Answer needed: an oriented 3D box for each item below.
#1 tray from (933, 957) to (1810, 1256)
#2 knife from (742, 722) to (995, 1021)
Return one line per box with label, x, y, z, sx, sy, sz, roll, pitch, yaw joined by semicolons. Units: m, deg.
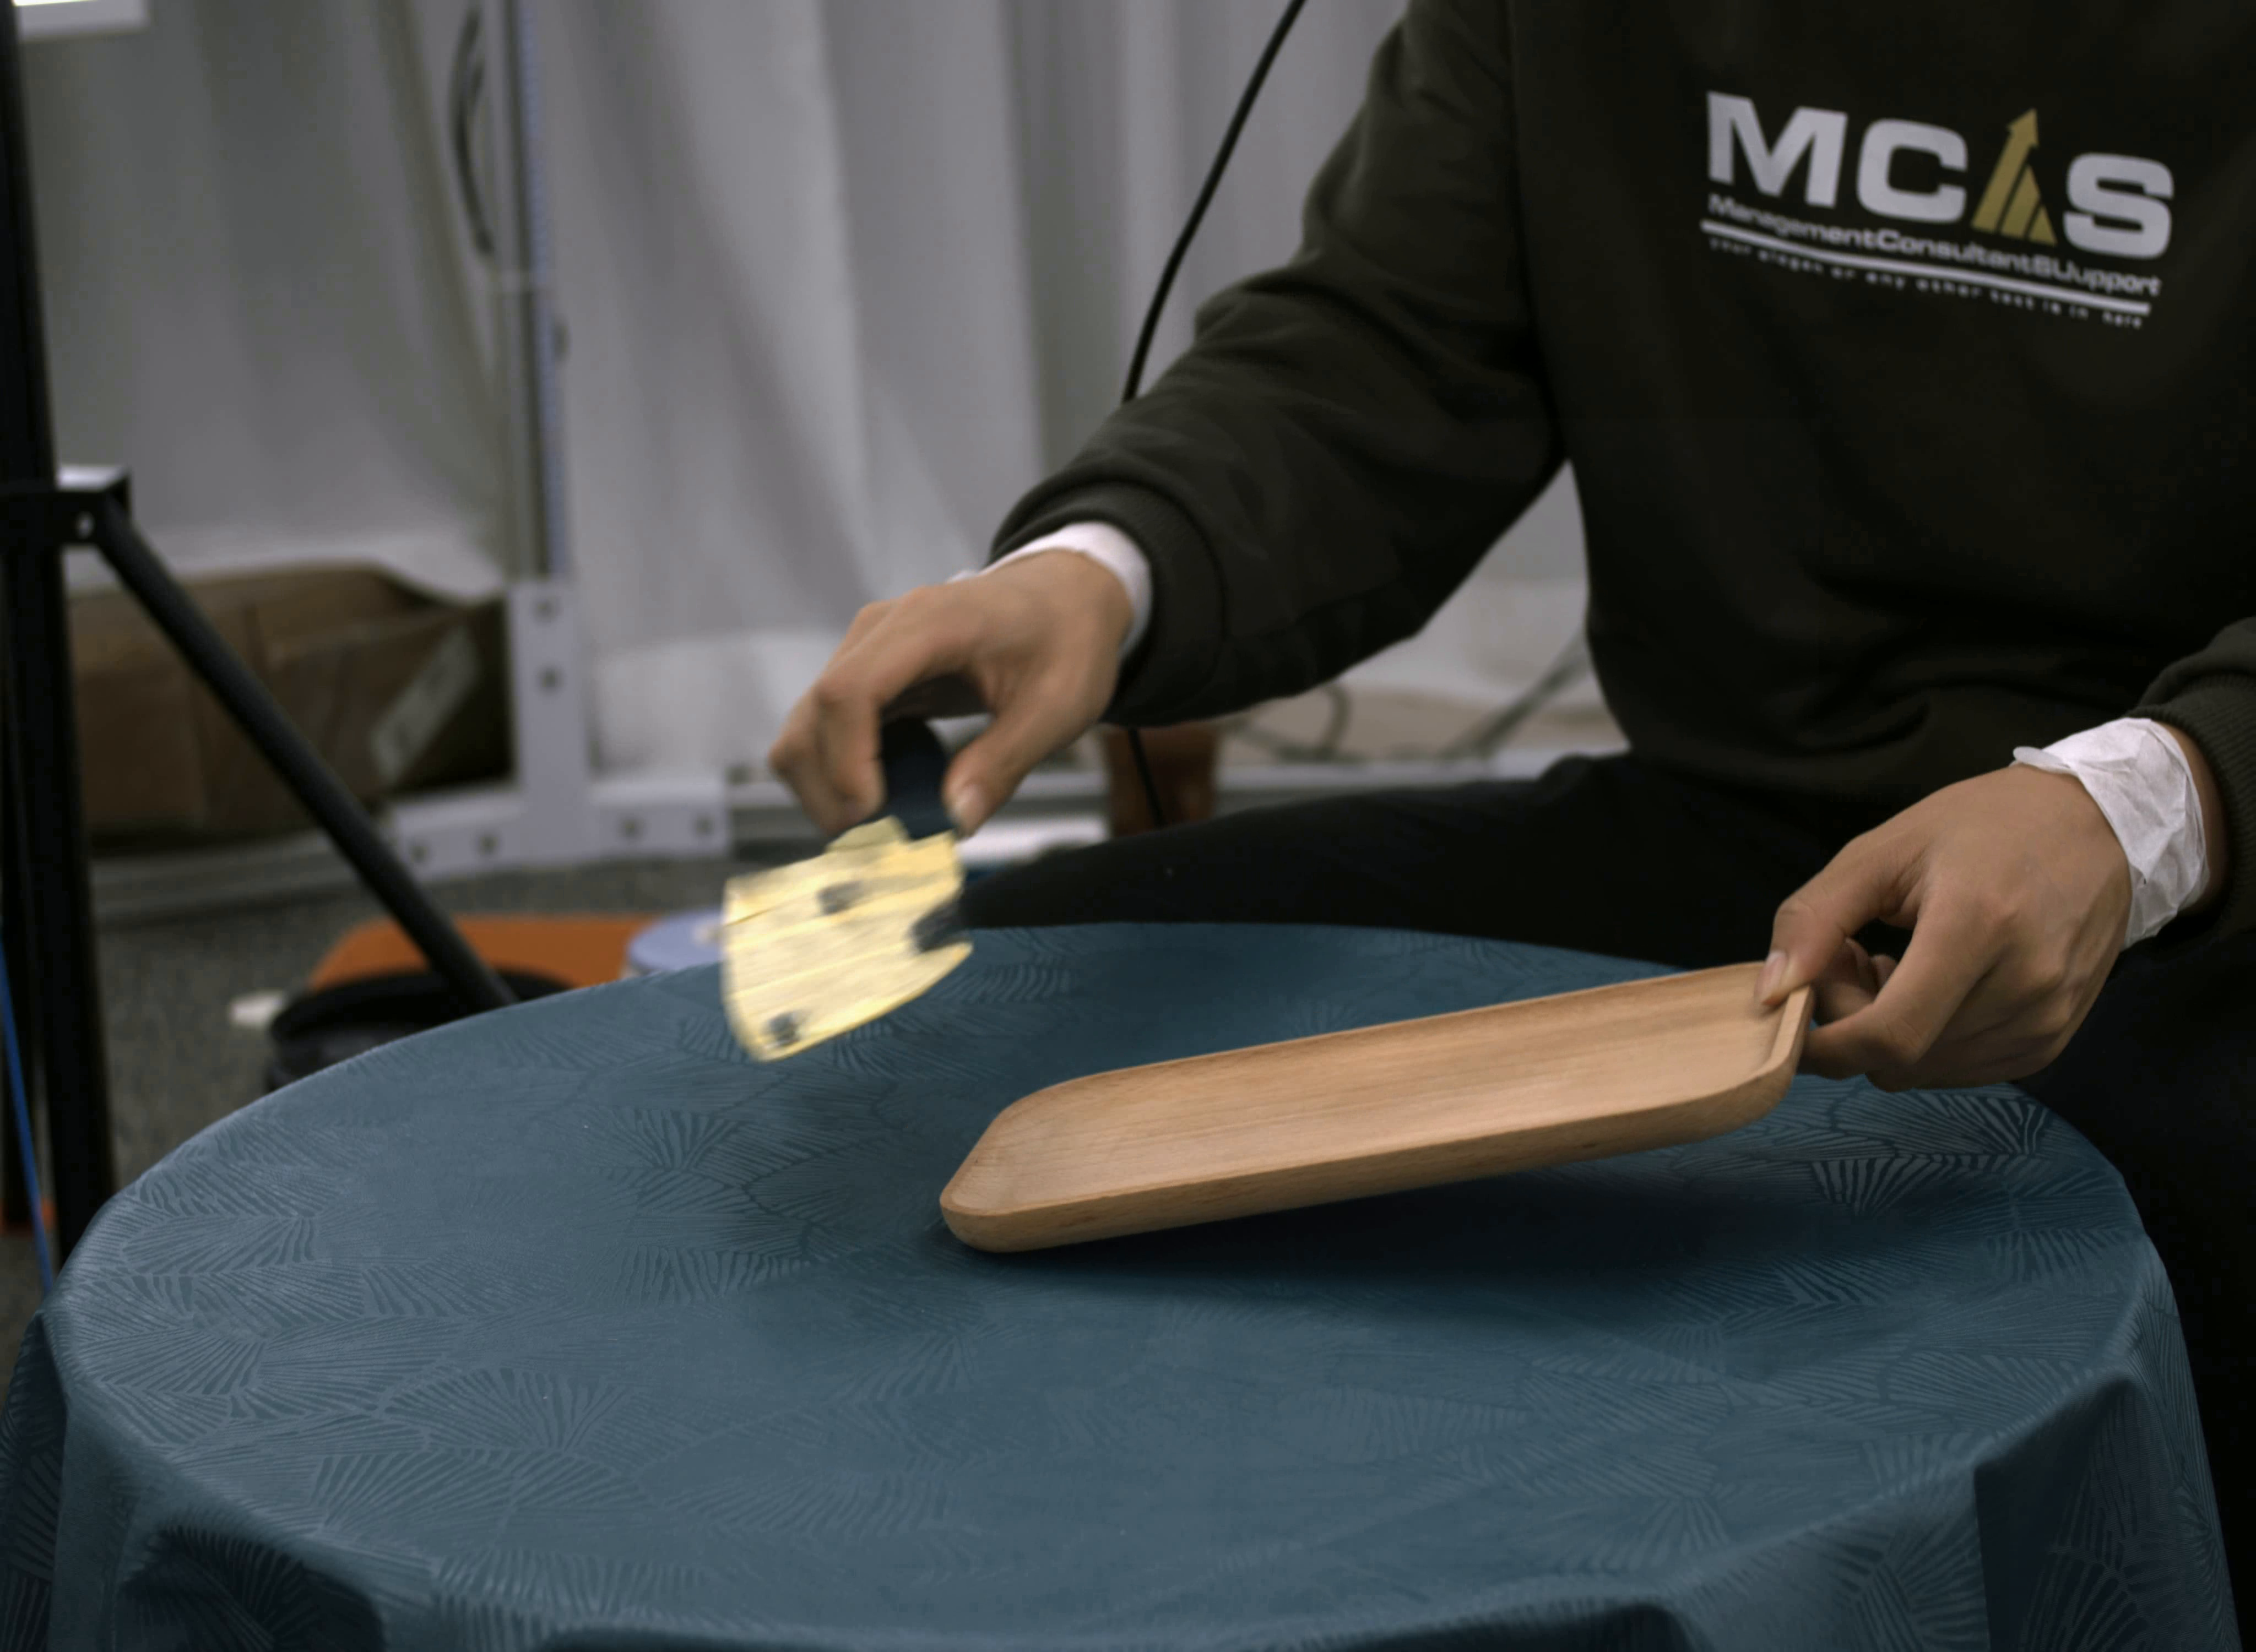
tray;0.071;0.081;1.526;0.252;0.023;0.129;-11;11;17
knife;-0.079;0.014;1.625;0.081;0.027;0.291;-16;15;3
